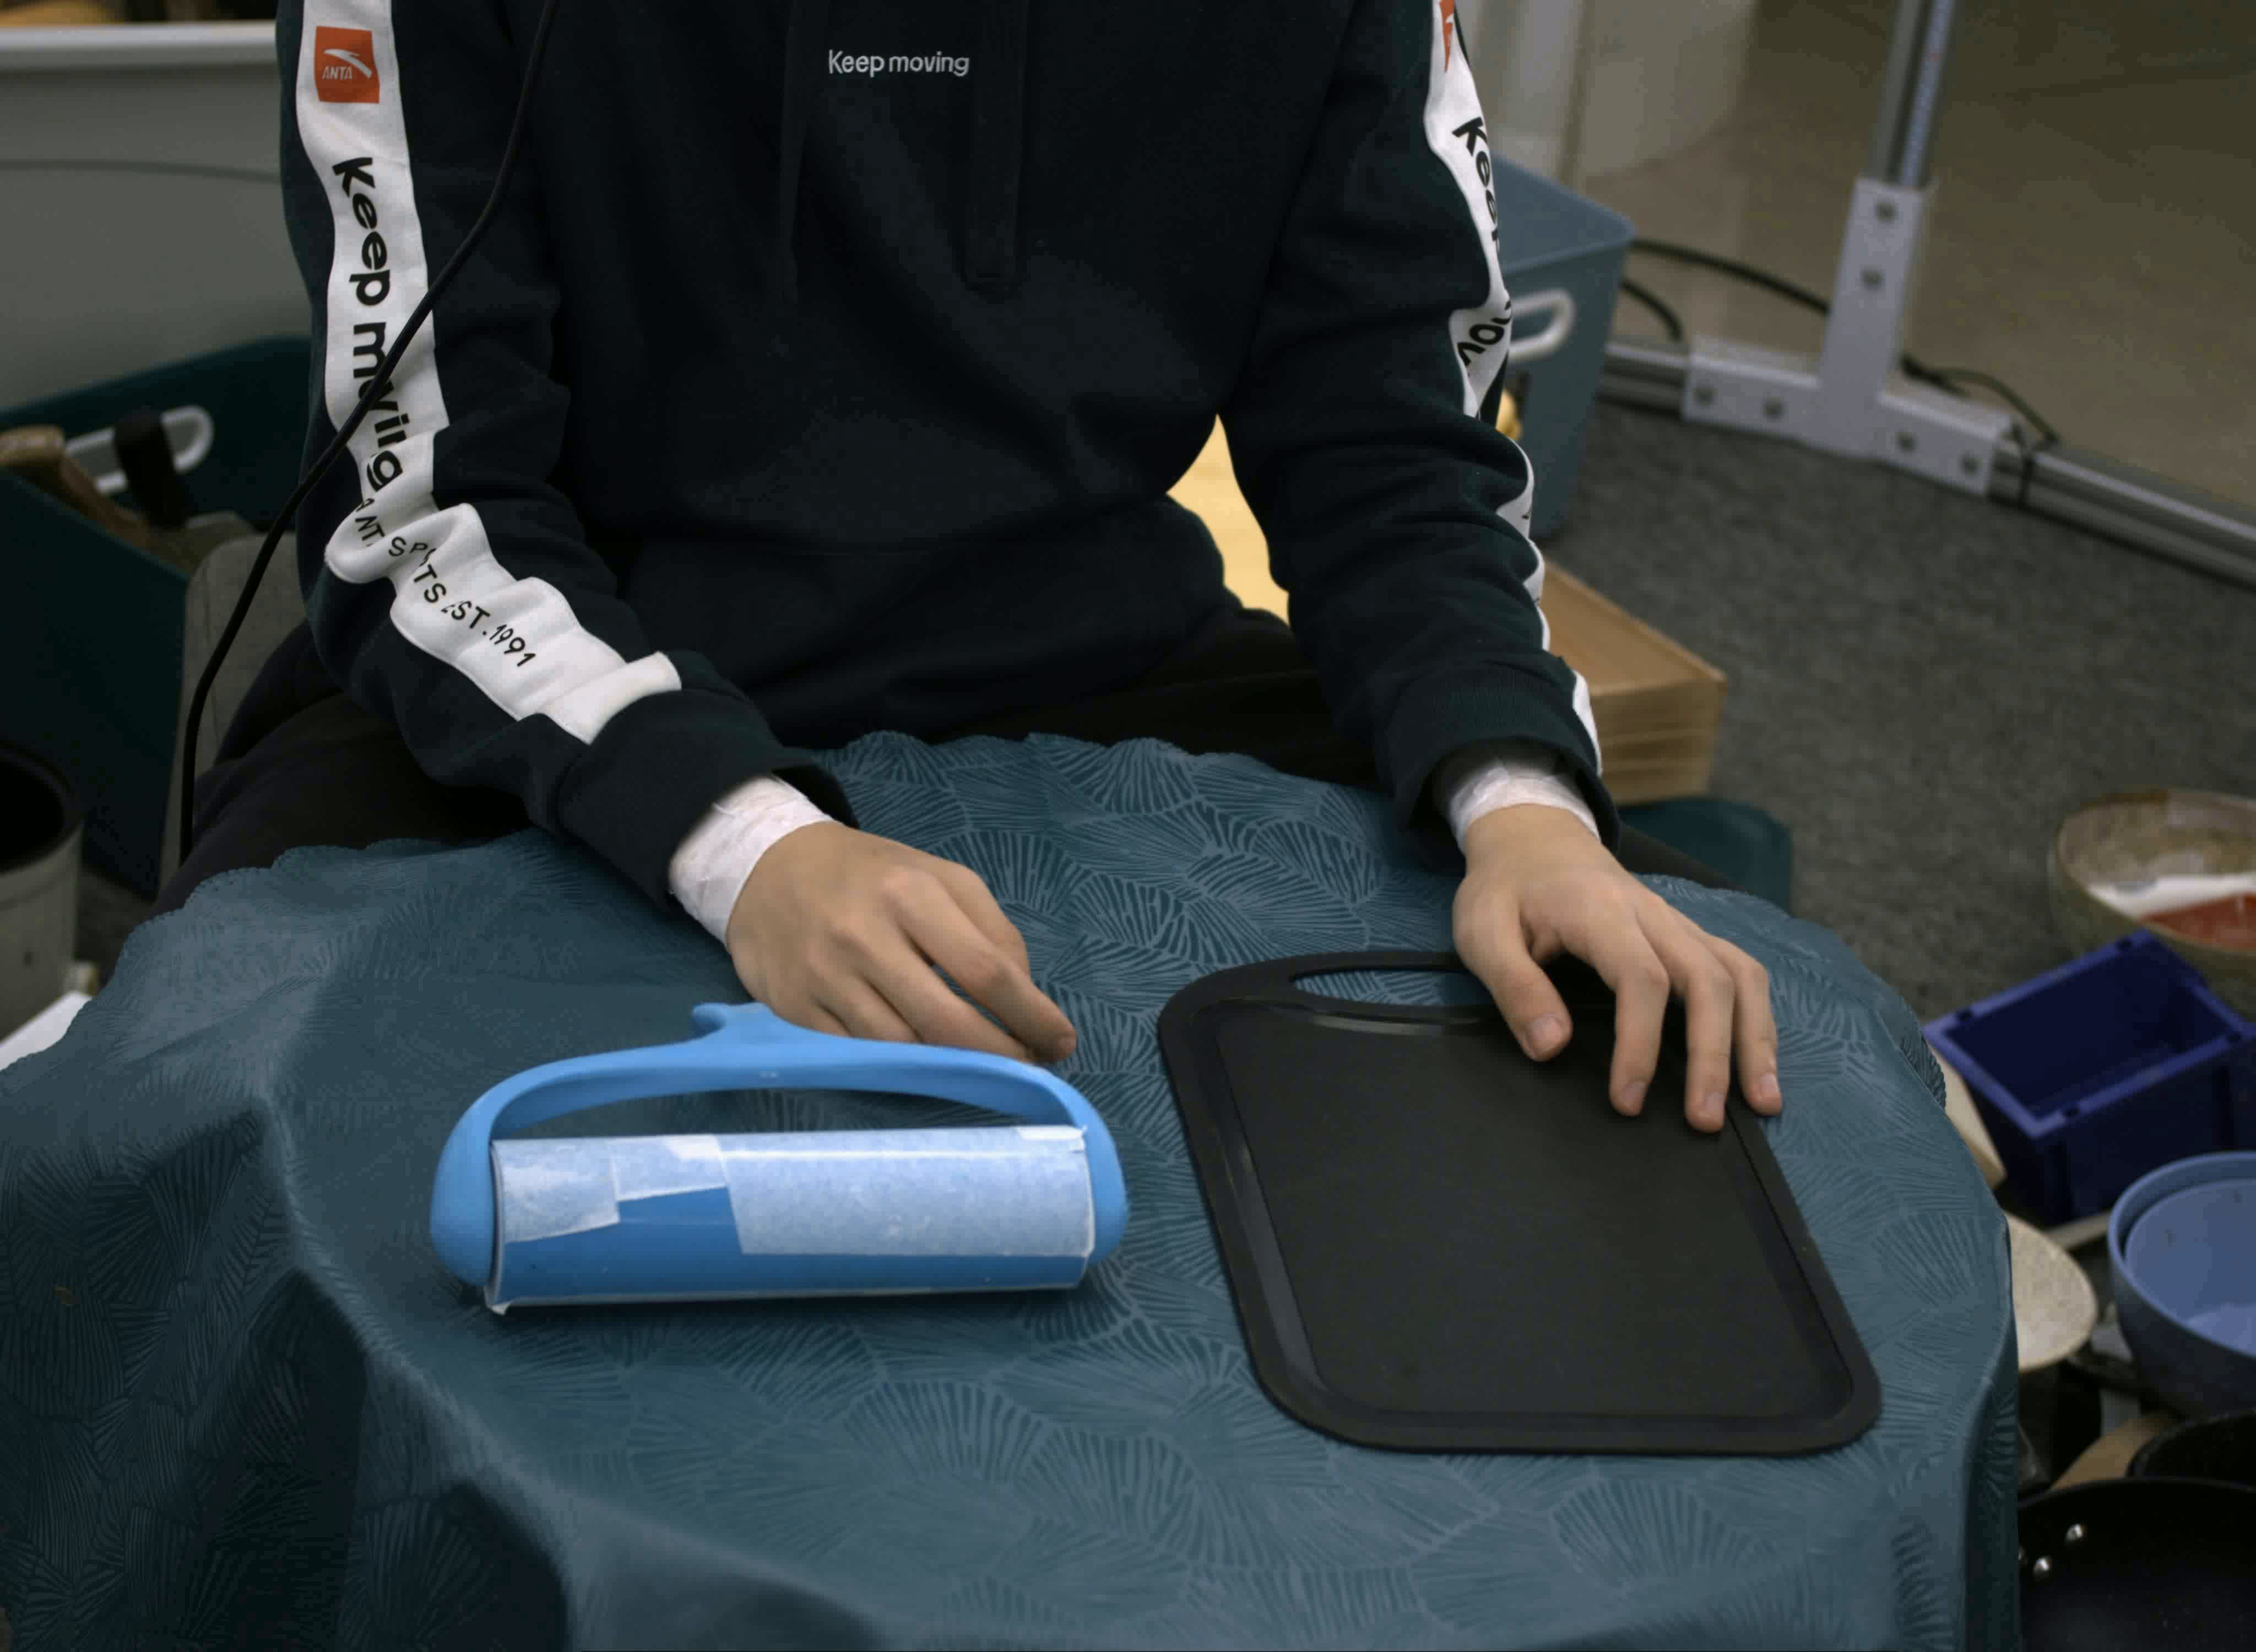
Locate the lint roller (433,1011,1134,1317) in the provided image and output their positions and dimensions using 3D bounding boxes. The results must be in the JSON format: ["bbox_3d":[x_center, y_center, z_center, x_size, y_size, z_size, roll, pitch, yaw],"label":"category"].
[{"bbox_3d":[-0.125,0.097,1.761,0.227,0.067,0.182,-4,30,-15],"label":"lint roller"}]

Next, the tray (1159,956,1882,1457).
[{"bbox_3d":[0.126,0.122,1.822,0.210,0.010,0.328,2,27,-9],"label":"tray"}]
